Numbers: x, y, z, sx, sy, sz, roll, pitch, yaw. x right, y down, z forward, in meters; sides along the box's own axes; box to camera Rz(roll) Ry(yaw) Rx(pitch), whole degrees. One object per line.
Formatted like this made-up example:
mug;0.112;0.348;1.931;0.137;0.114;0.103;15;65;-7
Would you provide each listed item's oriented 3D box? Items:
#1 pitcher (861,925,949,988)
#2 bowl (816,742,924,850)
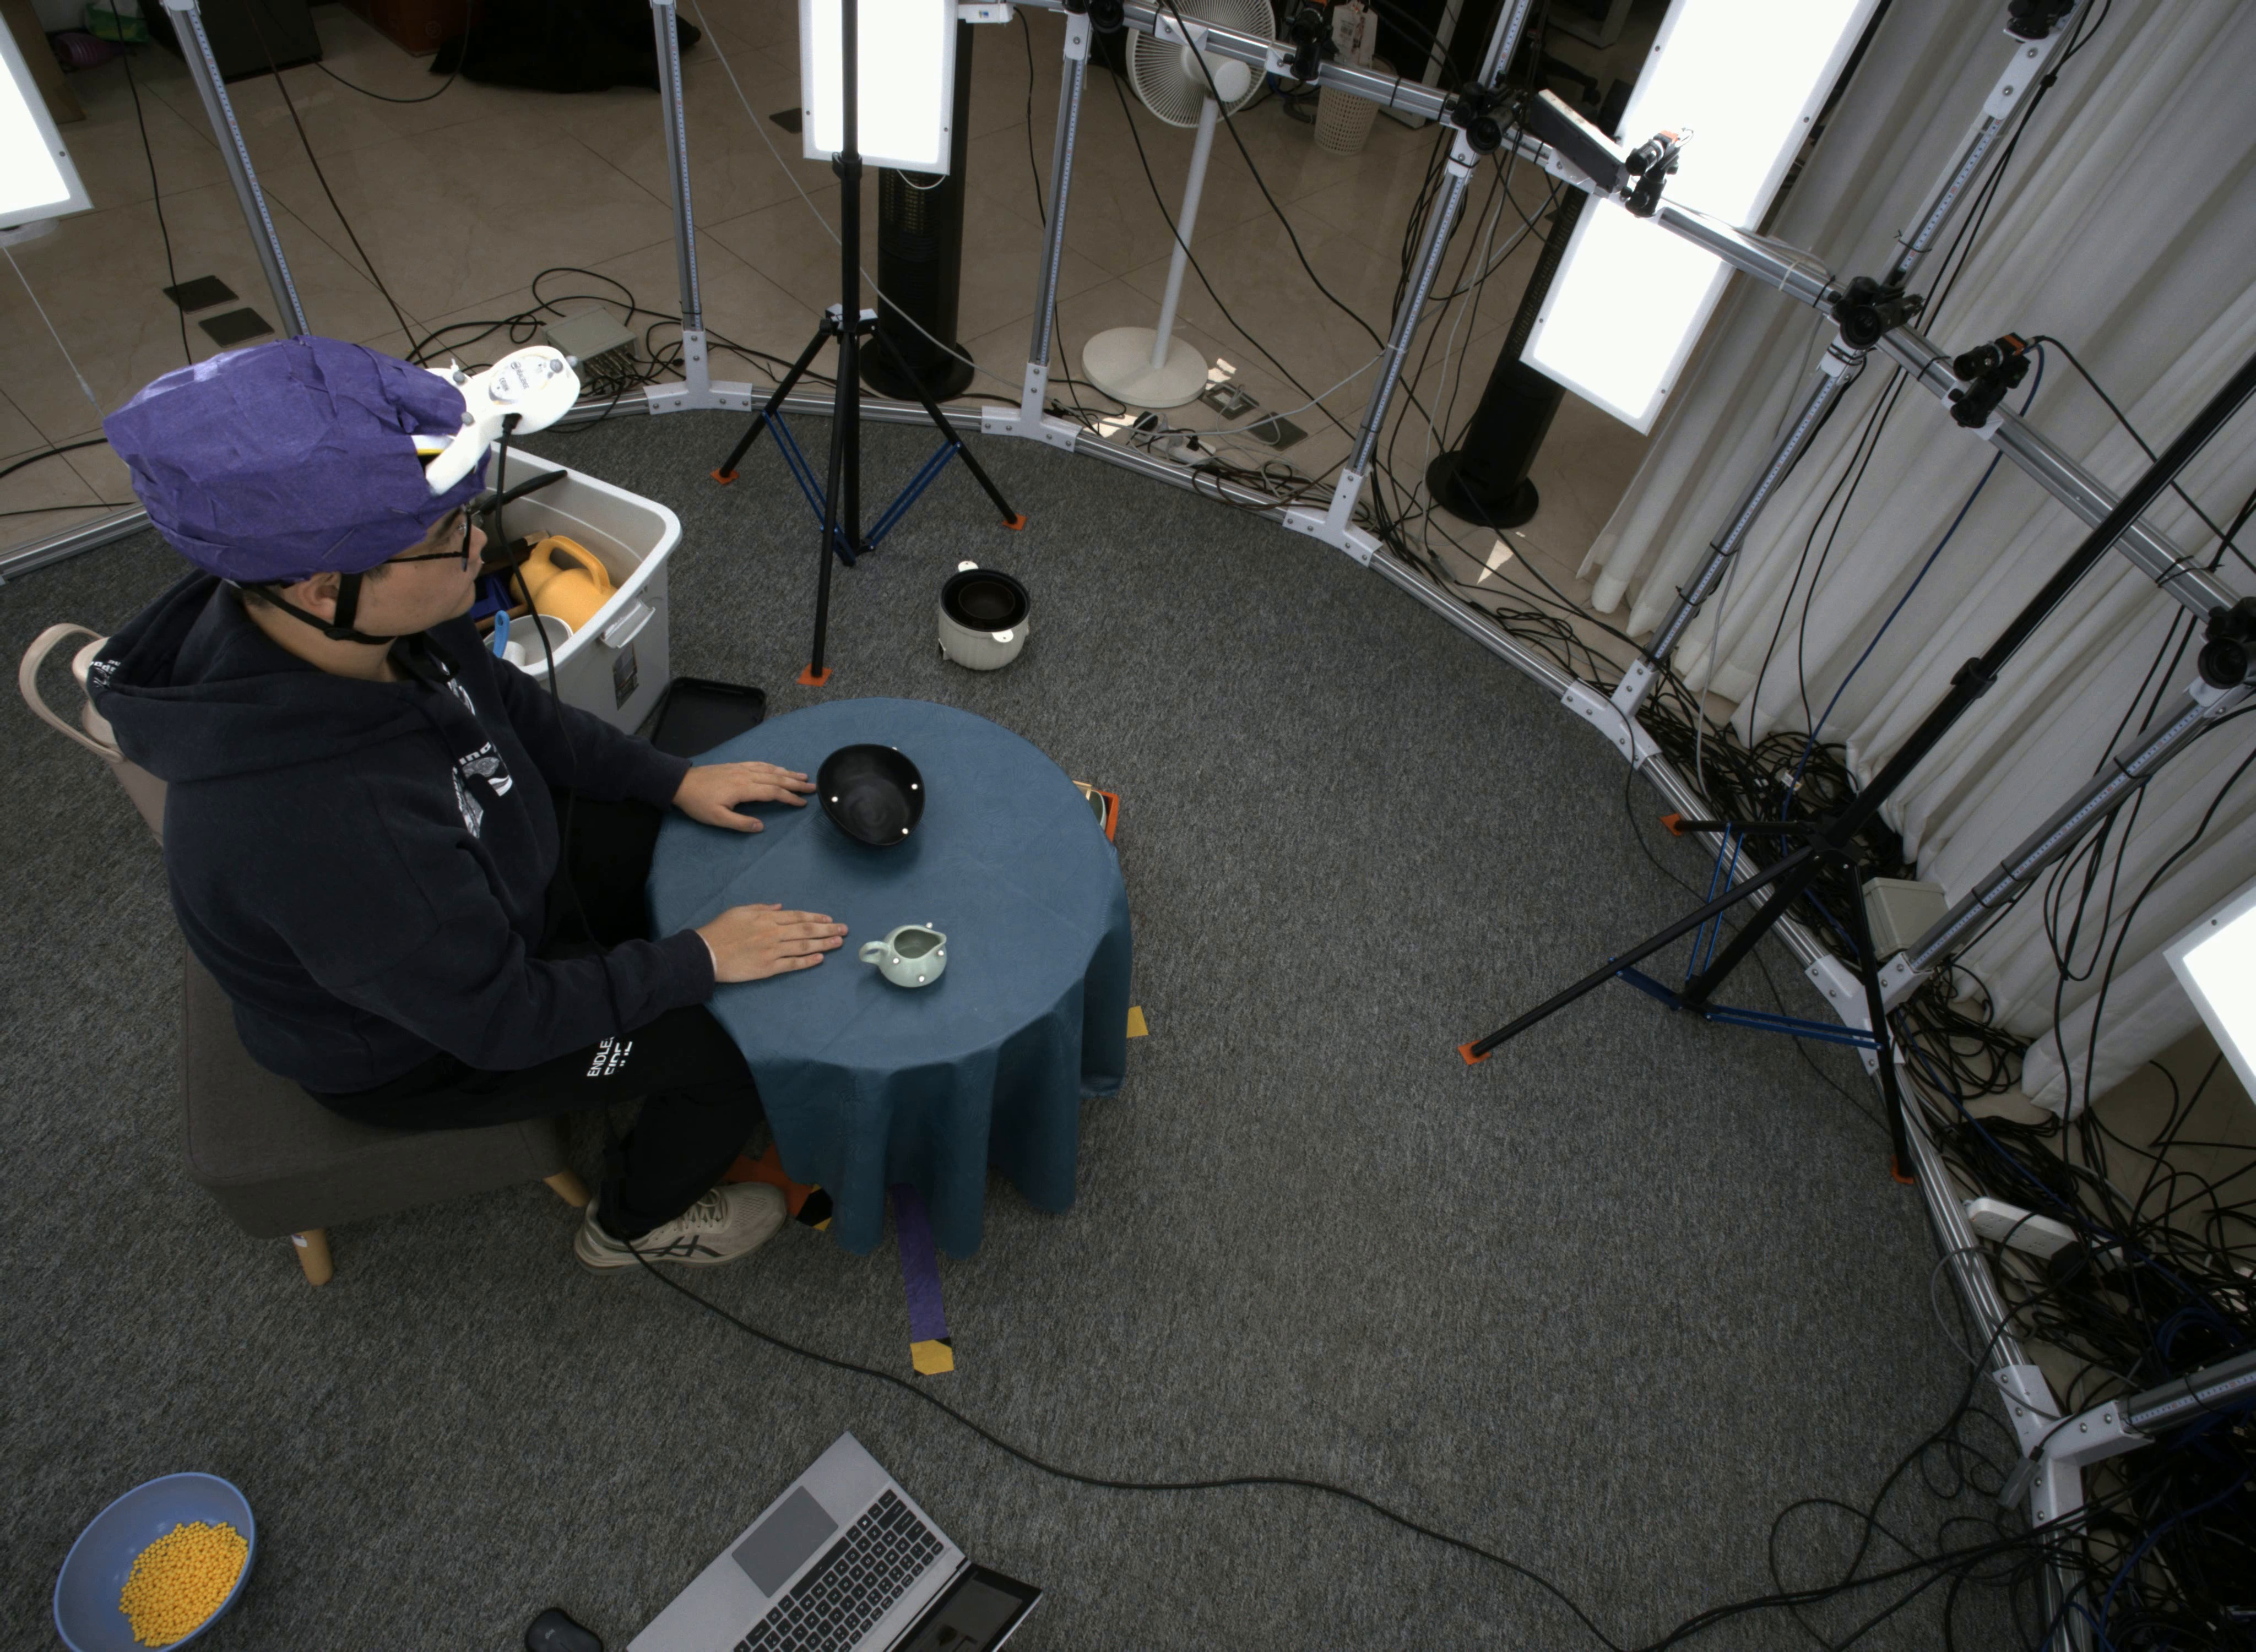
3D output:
pitcher;-0.275;0.157;1.604;0.108;0.062;0.084;-8;54;-16
bowl;-0.340;-0.032;1.725;0.138;0.068;0.166;-19;61;-24
